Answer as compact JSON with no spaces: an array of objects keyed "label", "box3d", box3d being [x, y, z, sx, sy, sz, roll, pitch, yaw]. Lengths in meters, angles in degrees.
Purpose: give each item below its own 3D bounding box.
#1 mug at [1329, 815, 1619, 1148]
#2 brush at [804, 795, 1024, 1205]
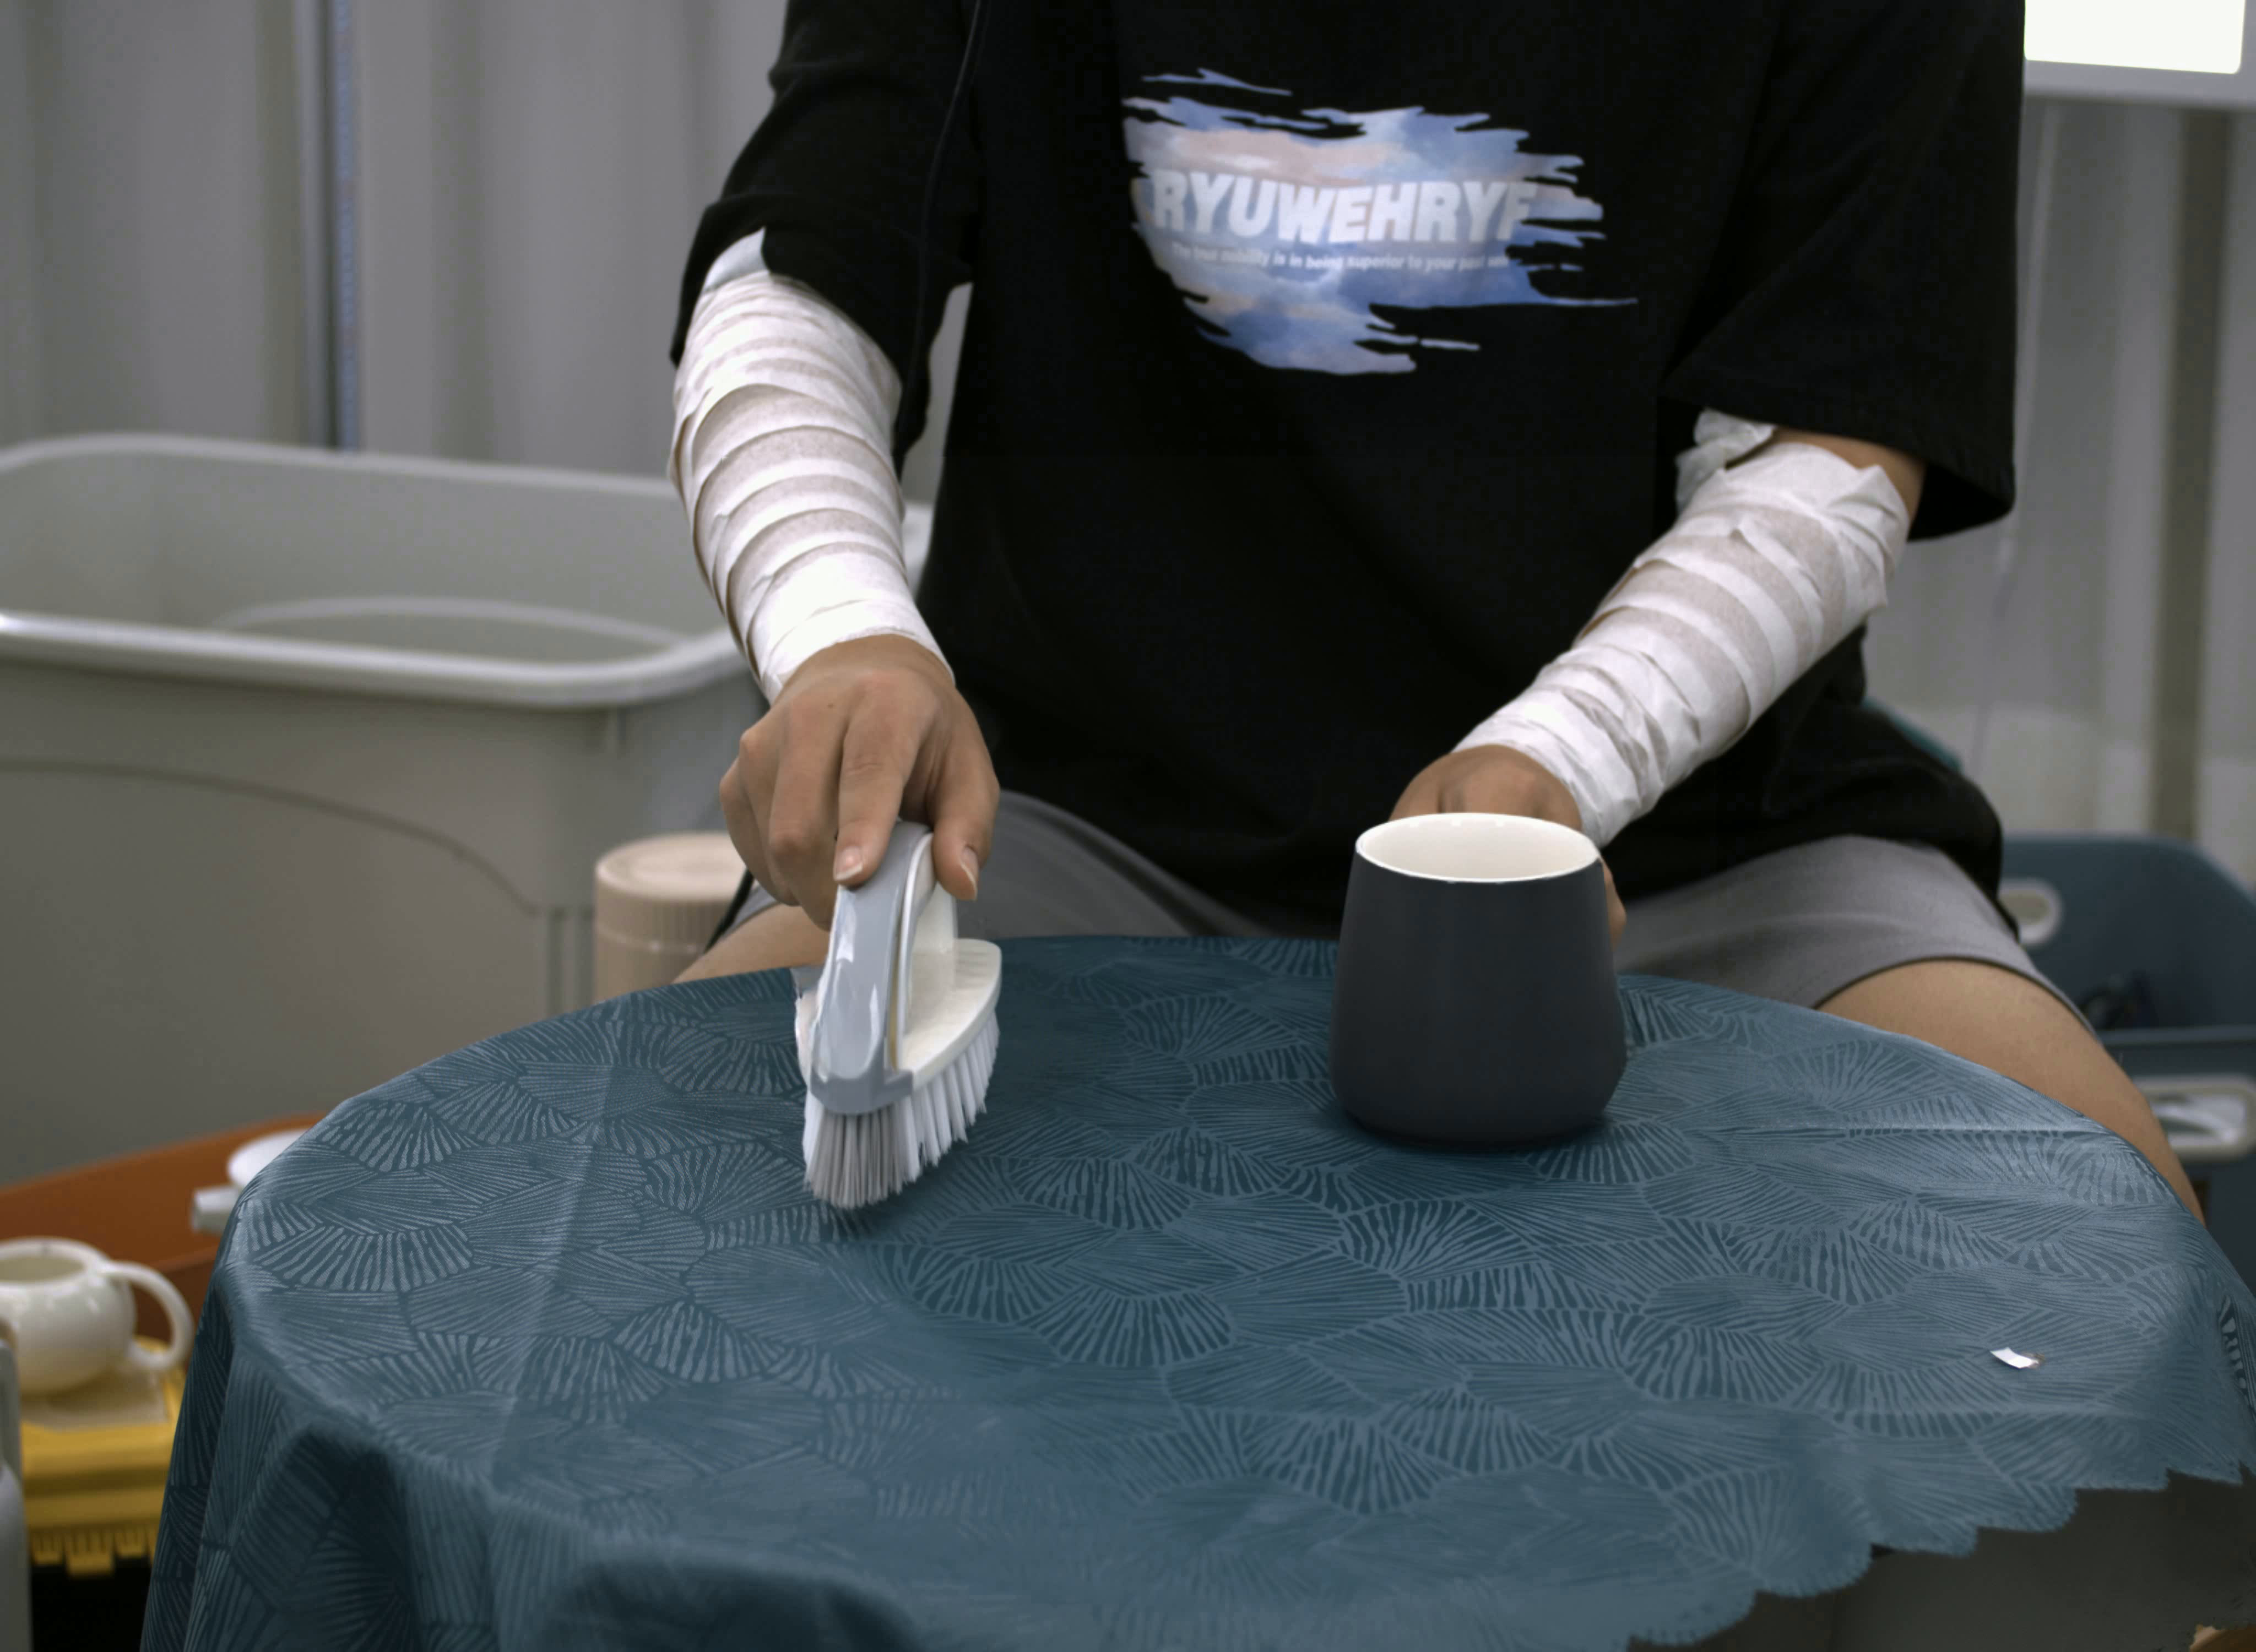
[{"label":"mug","box3d":[0.109,0.046,1.701,0.093,0.090,0.122,-3,16,-8]},{"label":"brush","box3d":[-0.073,0.048,1.645,0.061,0.095,0.175,0,19,9]}]
